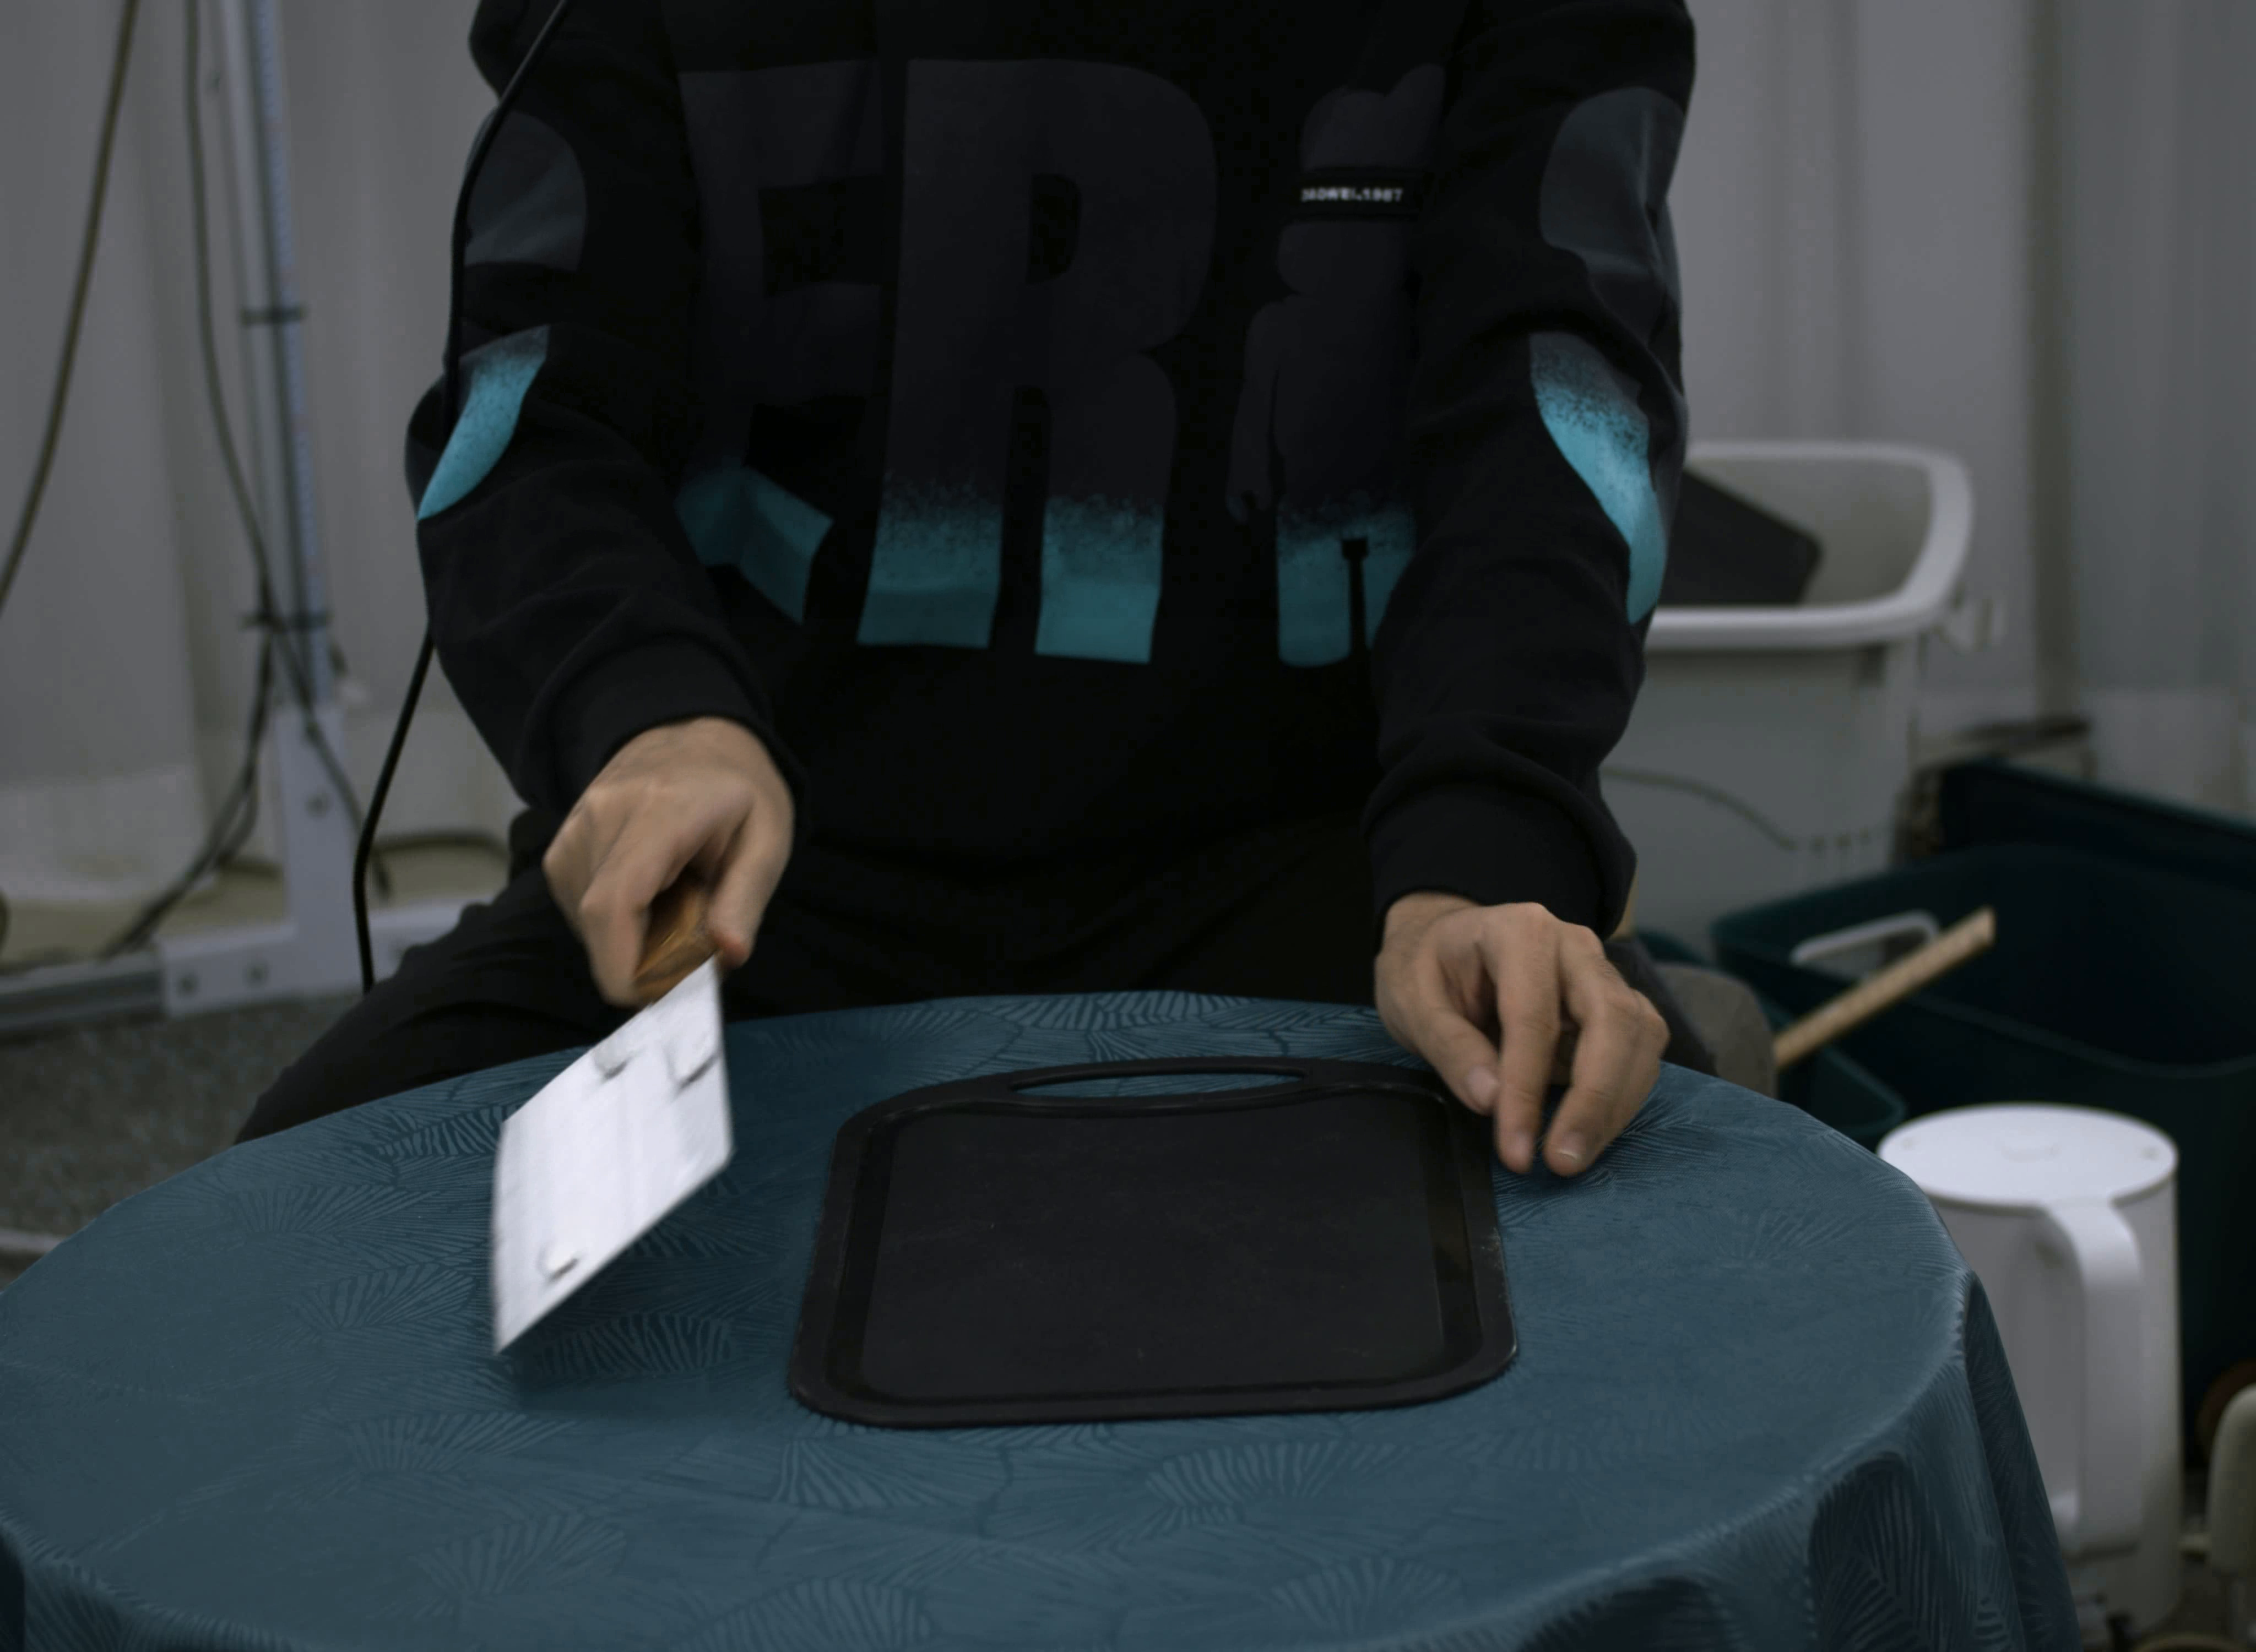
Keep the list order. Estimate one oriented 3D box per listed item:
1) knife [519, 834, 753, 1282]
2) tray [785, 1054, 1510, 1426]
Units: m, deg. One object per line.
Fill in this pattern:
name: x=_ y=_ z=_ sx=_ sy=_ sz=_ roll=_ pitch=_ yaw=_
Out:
knife: x=-0.155 y=0.072 z=1.703 sx=0.093 sy=0.021 sz=0.308 roll=-42 pitch=16 yaw=6
tray: x=0.008 y=0.120 z=1.679 sx=0.210 sy=0.010 sz=0.327 roll=-2 pitch=15 yaw=2
